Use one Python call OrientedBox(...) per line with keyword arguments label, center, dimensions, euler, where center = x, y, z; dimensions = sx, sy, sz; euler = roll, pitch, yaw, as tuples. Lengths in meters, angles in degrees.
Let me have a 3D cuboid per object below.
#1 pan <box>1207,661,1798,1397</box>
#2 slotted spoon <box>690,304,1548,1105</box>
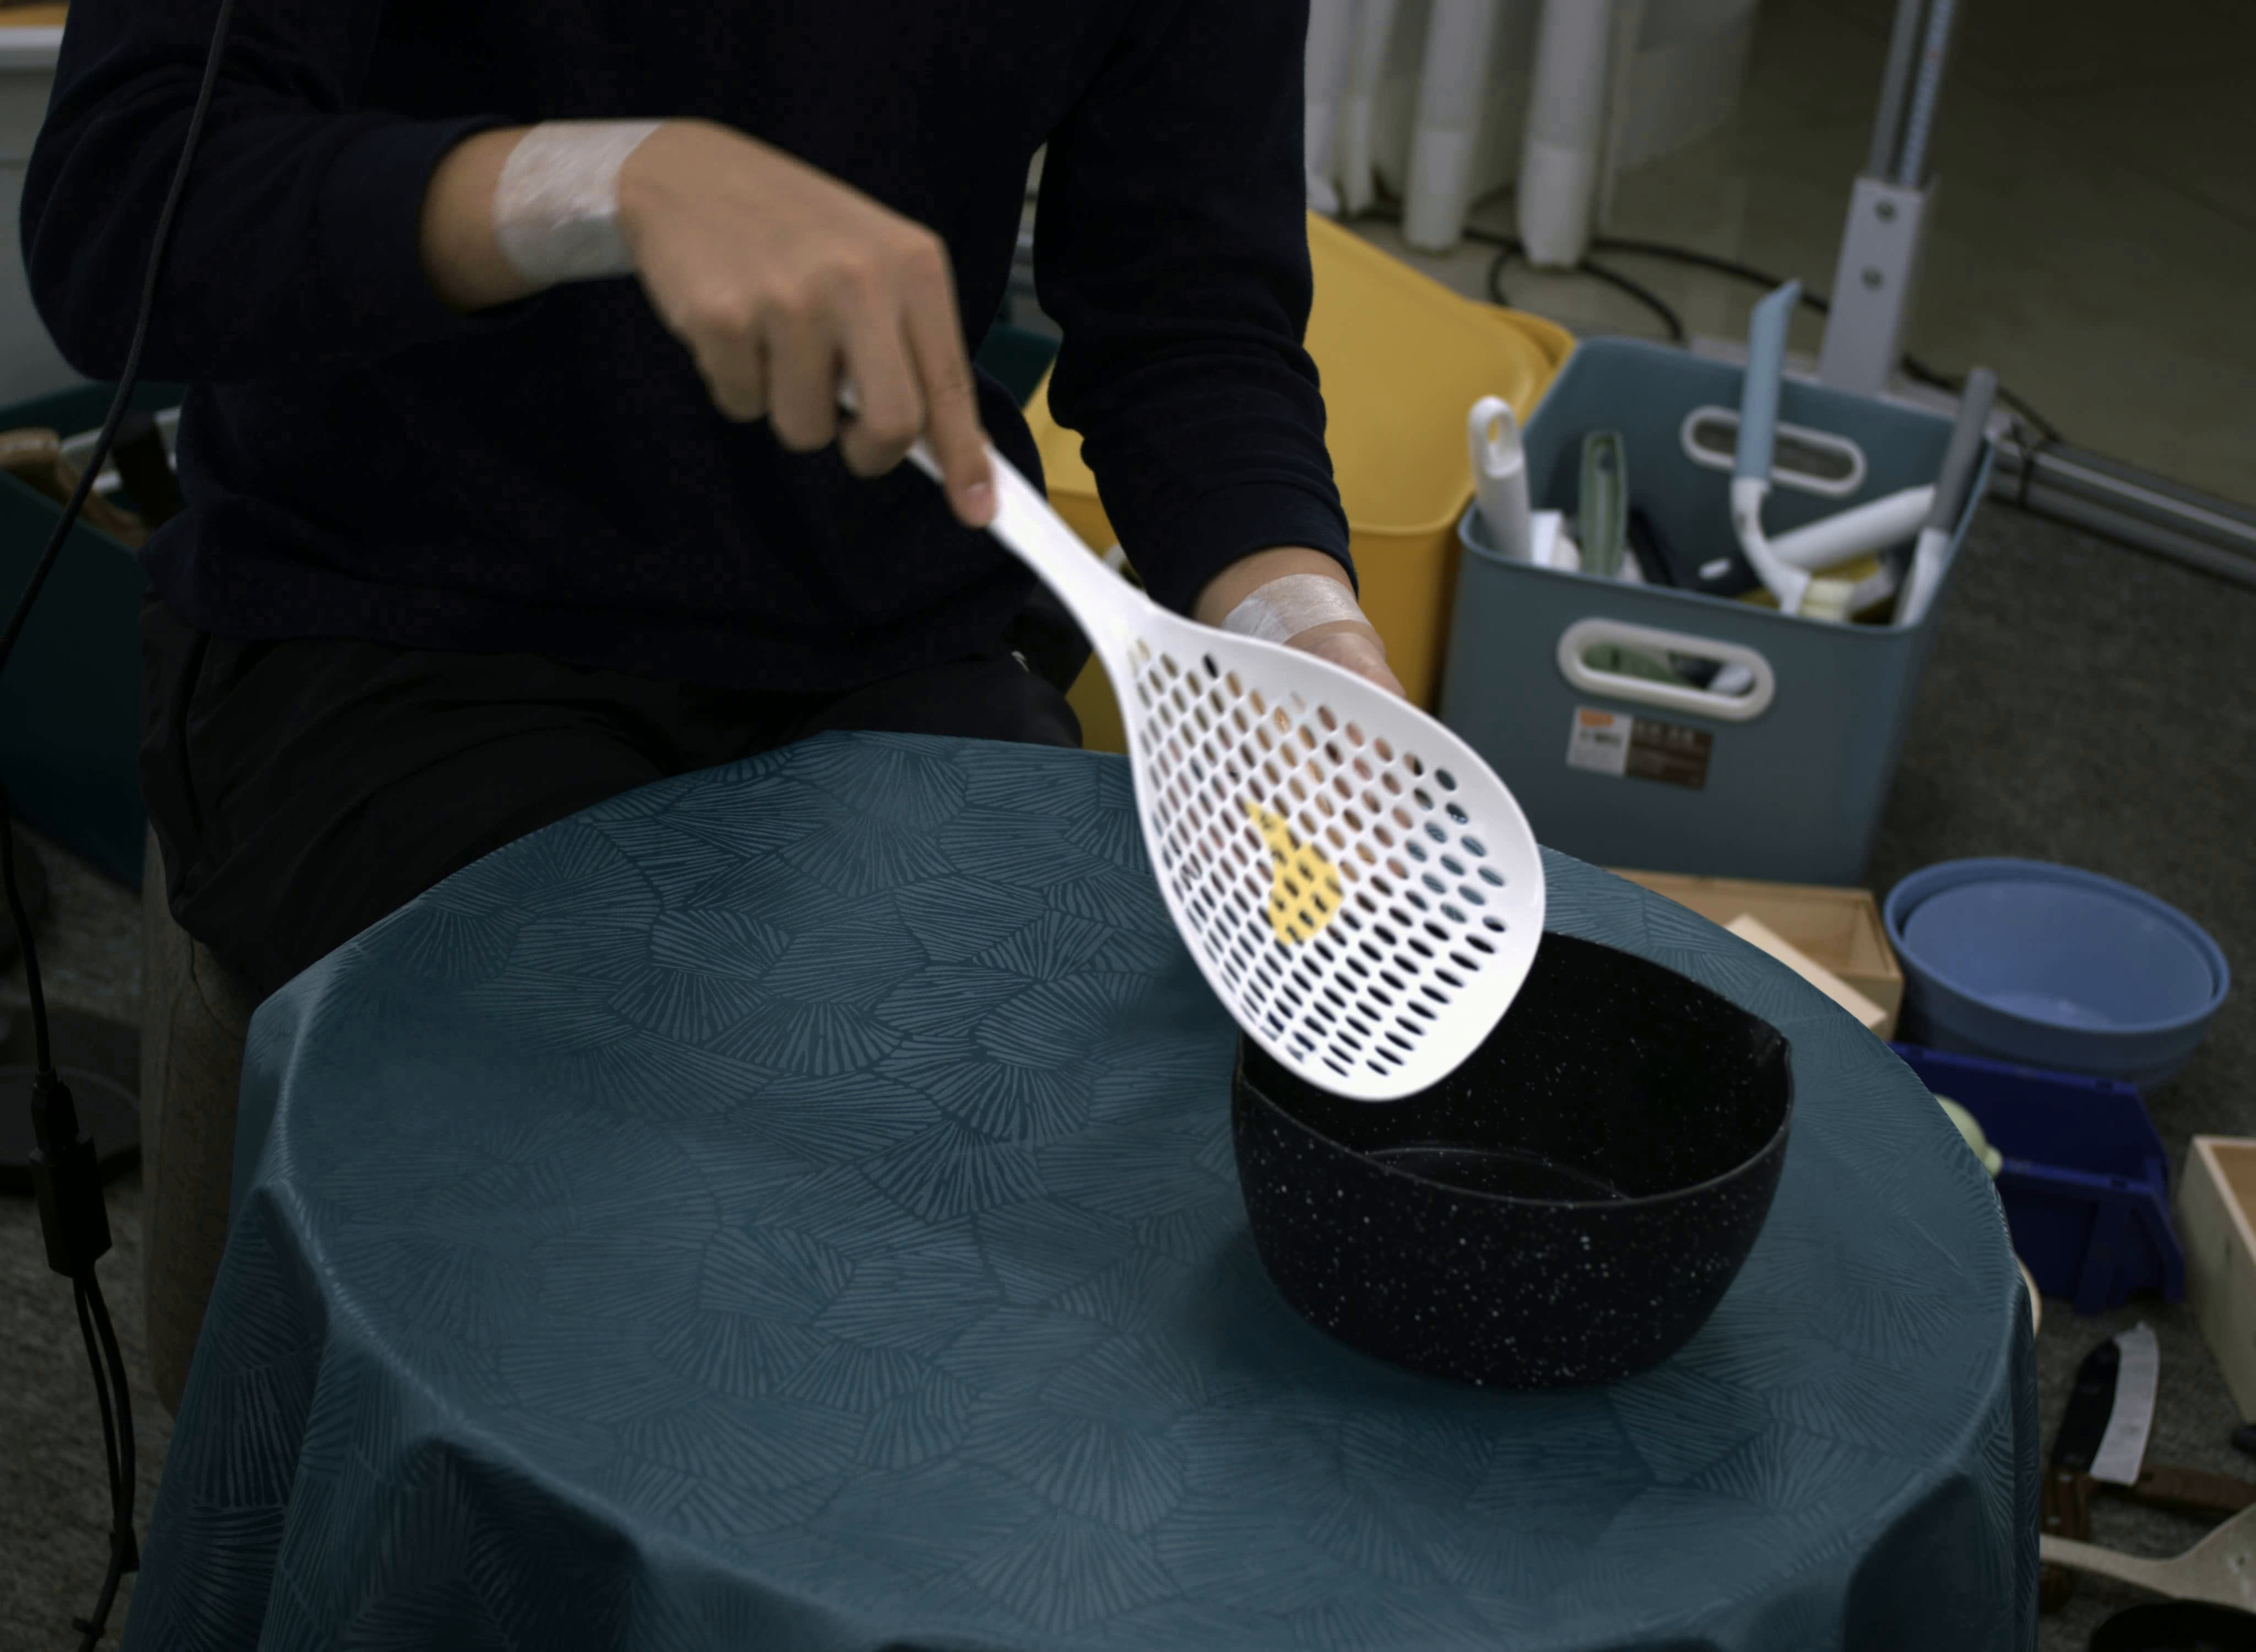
OrientedBox(label="pan", center=(0.095, 0.066, 1.819), dimensions=(0.206, 0.108, 0.346), euler=(-6, 31, -21))
OrientedBox(label="slotted spoon", center=(-0.005, -0.052, 1.723), dimensions=(0.137, 0.346, 0.050), euler=(-51, 15, -28))
